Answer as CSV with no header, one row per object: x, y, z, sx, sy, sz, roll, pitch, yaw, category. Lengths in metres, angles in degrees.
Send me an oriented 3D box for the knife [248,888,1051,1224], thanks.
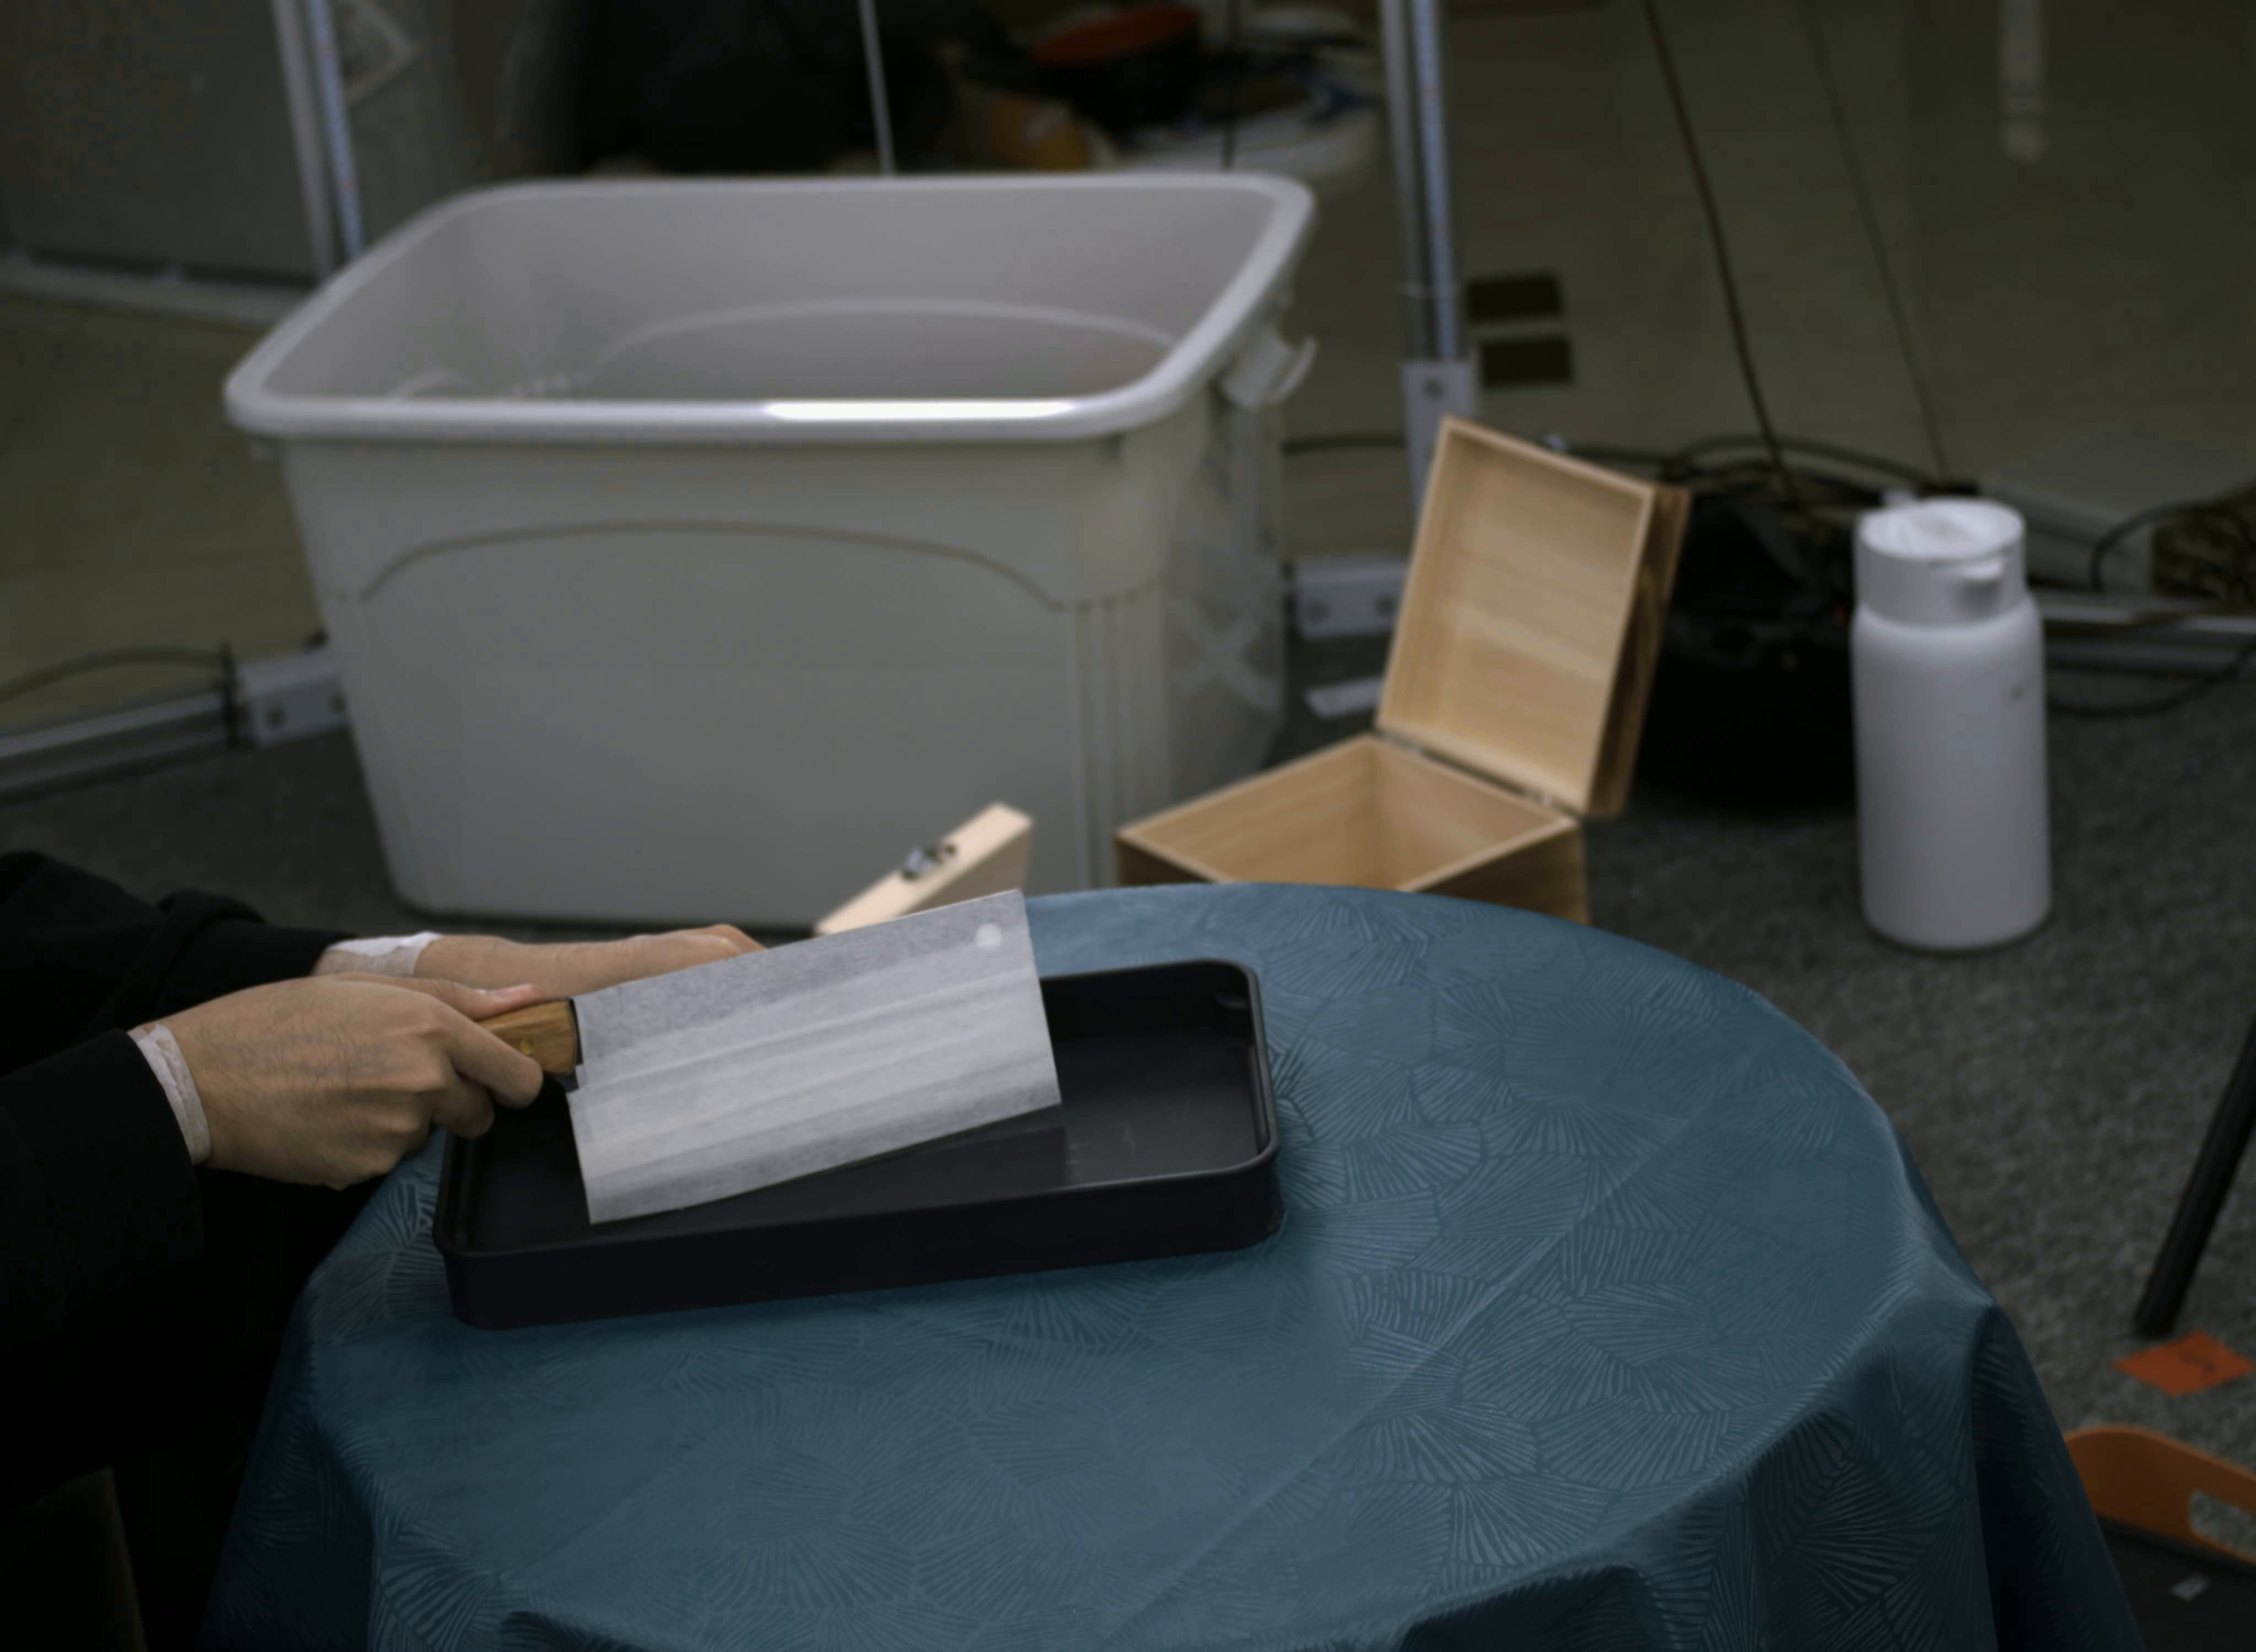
-0.177,0.099,2.149,0.305,0.094,0.021,-14,15,-14,knife

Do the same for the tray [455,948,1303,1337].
-0.096,0.119,2.170,0.317,0.037,0.181,-7,25,-1,tray
